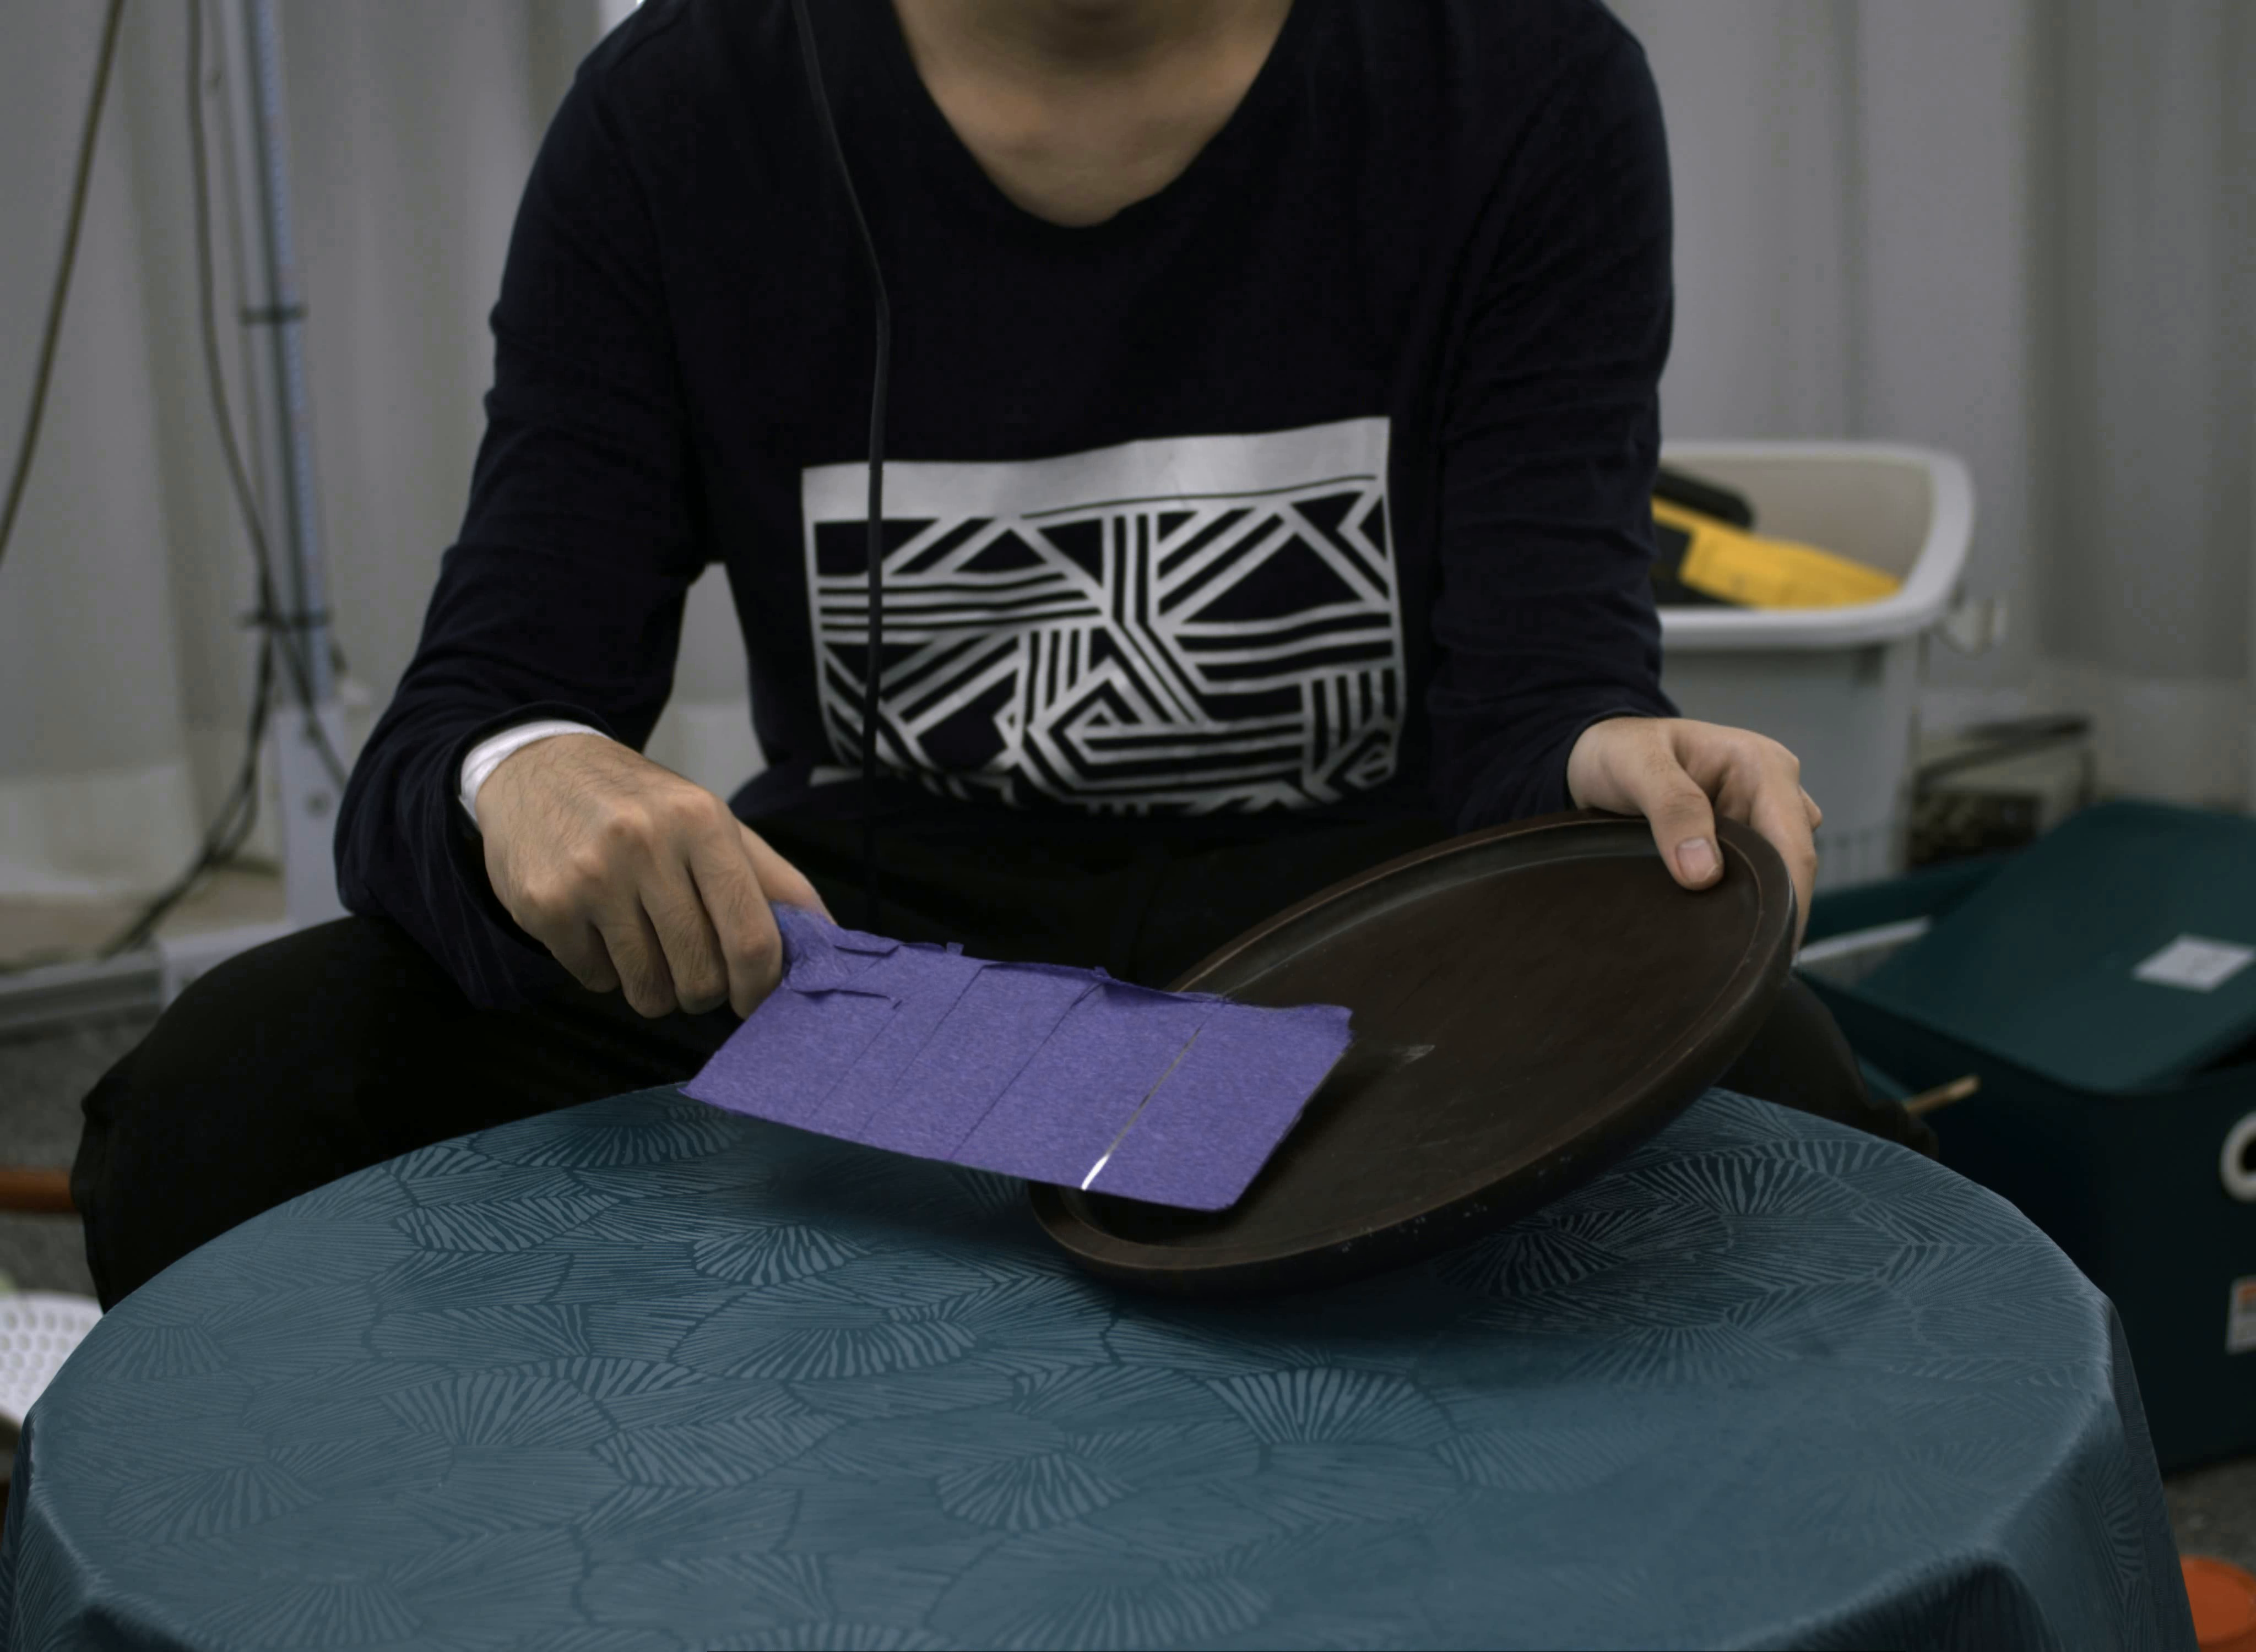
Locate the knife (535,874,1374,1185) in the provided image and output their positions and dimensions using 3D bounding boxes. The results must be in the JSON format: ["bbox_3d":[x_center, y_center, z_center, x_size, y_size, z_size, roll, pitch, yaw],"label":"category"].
[{"bbox_3d":[-0.077,0.062,1.724,0.316,0.032,0.104,7,38,35],"label":"knife"}]

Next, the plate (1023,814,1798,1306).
[{"bbox_3d":[0.086,0.070,1.665,0.254,0.029,0.257,-22,22,9],"label":"plate"}]
